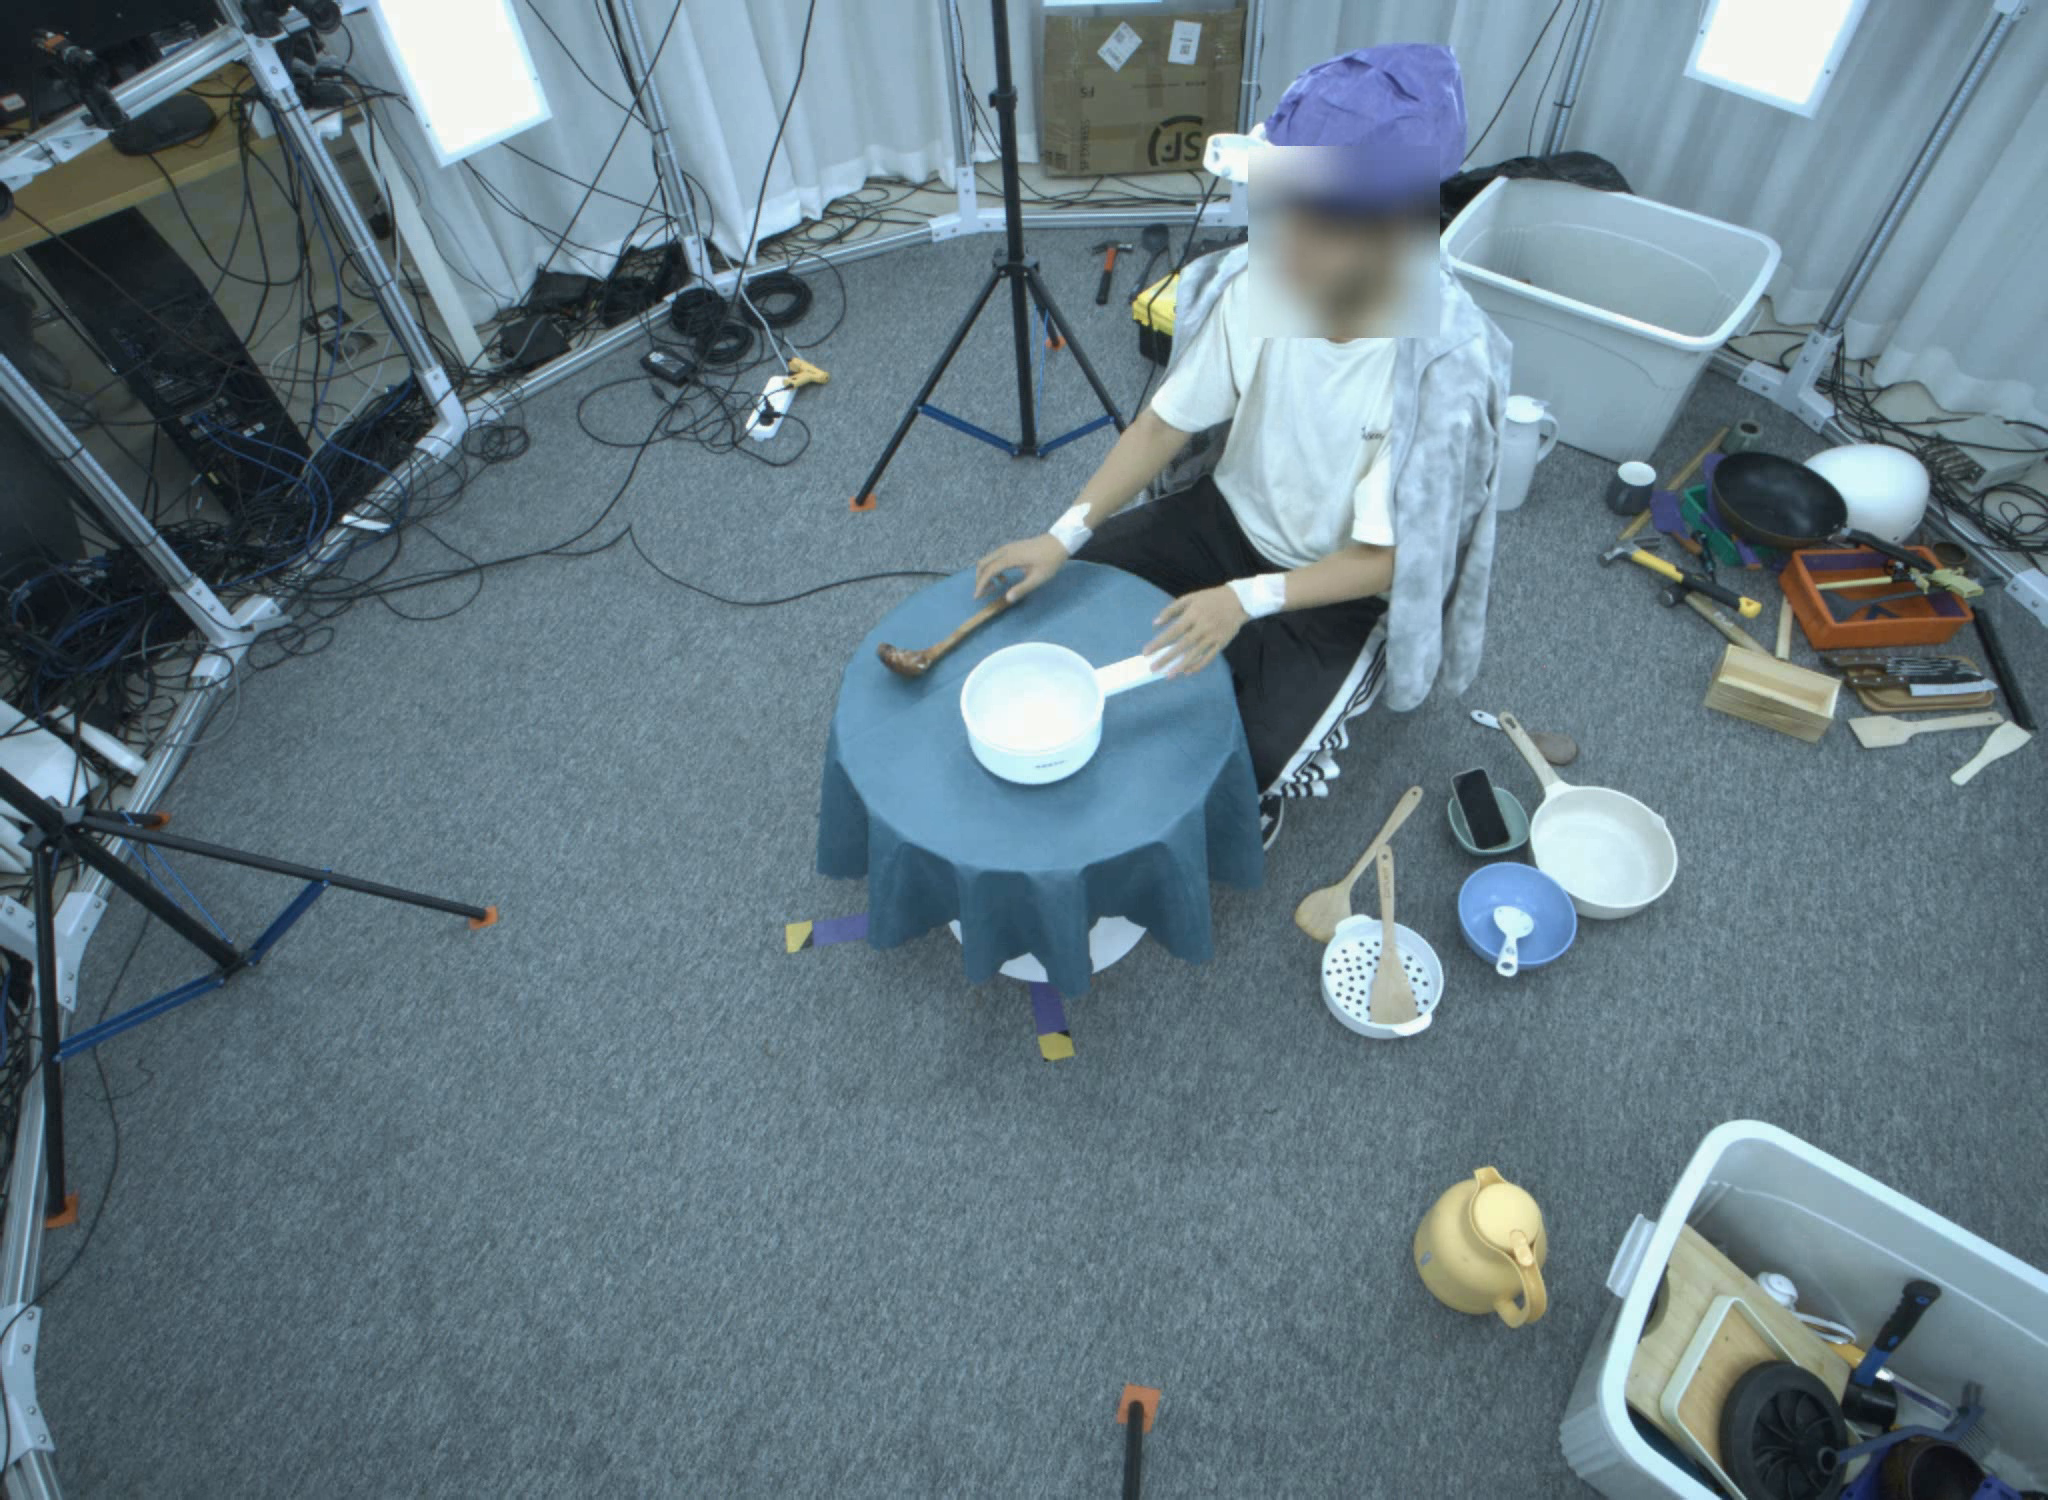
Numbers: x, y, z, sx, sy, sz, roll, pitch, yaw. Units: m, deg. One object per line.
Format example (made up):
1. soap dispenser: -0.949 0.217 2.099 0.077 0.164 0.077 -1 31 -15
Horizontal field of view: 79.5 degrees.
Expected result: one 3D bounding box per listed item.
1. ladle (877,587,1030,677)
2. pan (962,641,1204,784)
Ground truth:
1. ladle: -0.106 -0.198 1.885 0.276 0.077 0.080 -36 58 -20
2. pan: 0.087 -0.070 1.776 0.357 0.103 0.197 -17 55 -11
